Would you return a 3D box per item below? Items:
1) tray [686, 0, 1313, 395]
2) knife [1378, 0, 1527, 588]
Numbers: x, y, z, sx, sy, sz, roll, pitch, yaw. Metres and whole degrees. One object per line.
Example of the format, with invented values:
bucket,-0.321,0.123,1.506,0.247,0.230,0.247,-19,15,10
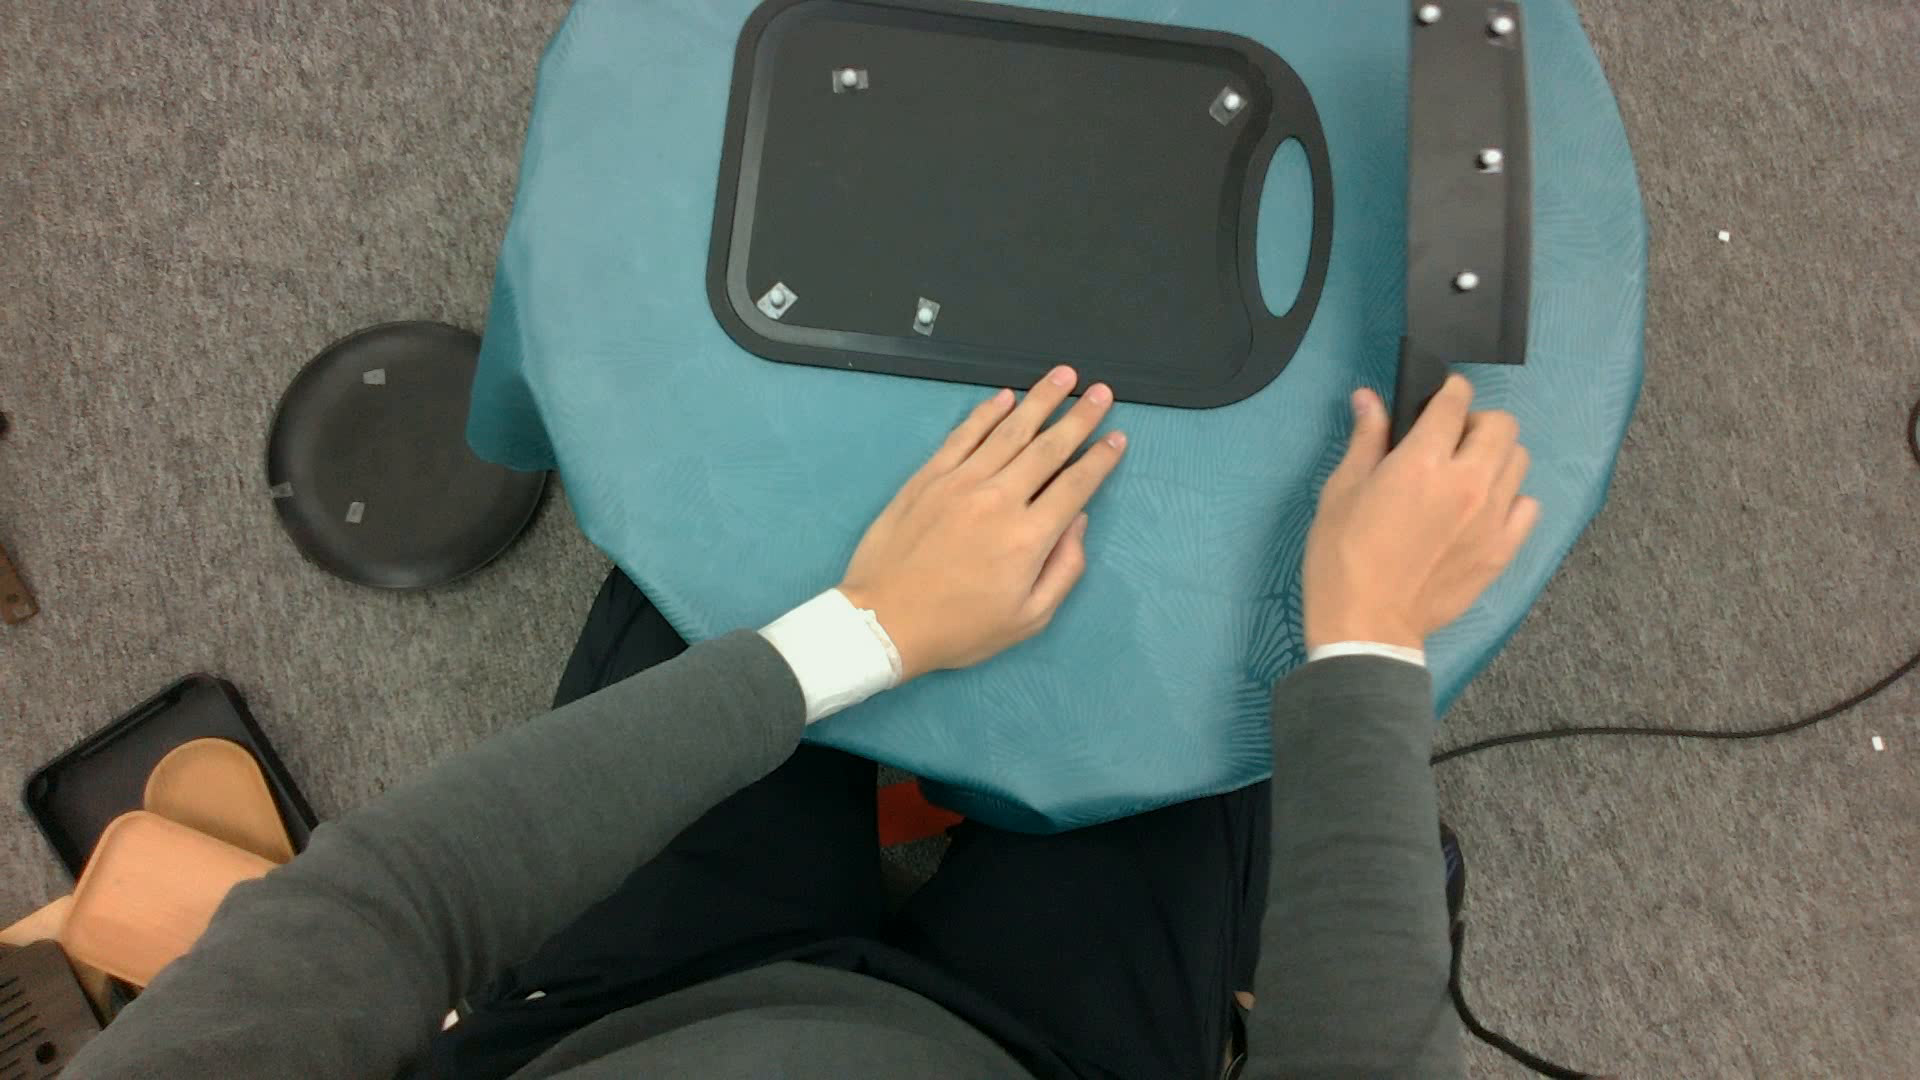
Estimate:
tray,0.027,-0.191,0.724,0.325,0.010,0.211,7,82,-3
knife,0.248,-0.127,0.693,0.081,0.021,0.302,8,89,-15
